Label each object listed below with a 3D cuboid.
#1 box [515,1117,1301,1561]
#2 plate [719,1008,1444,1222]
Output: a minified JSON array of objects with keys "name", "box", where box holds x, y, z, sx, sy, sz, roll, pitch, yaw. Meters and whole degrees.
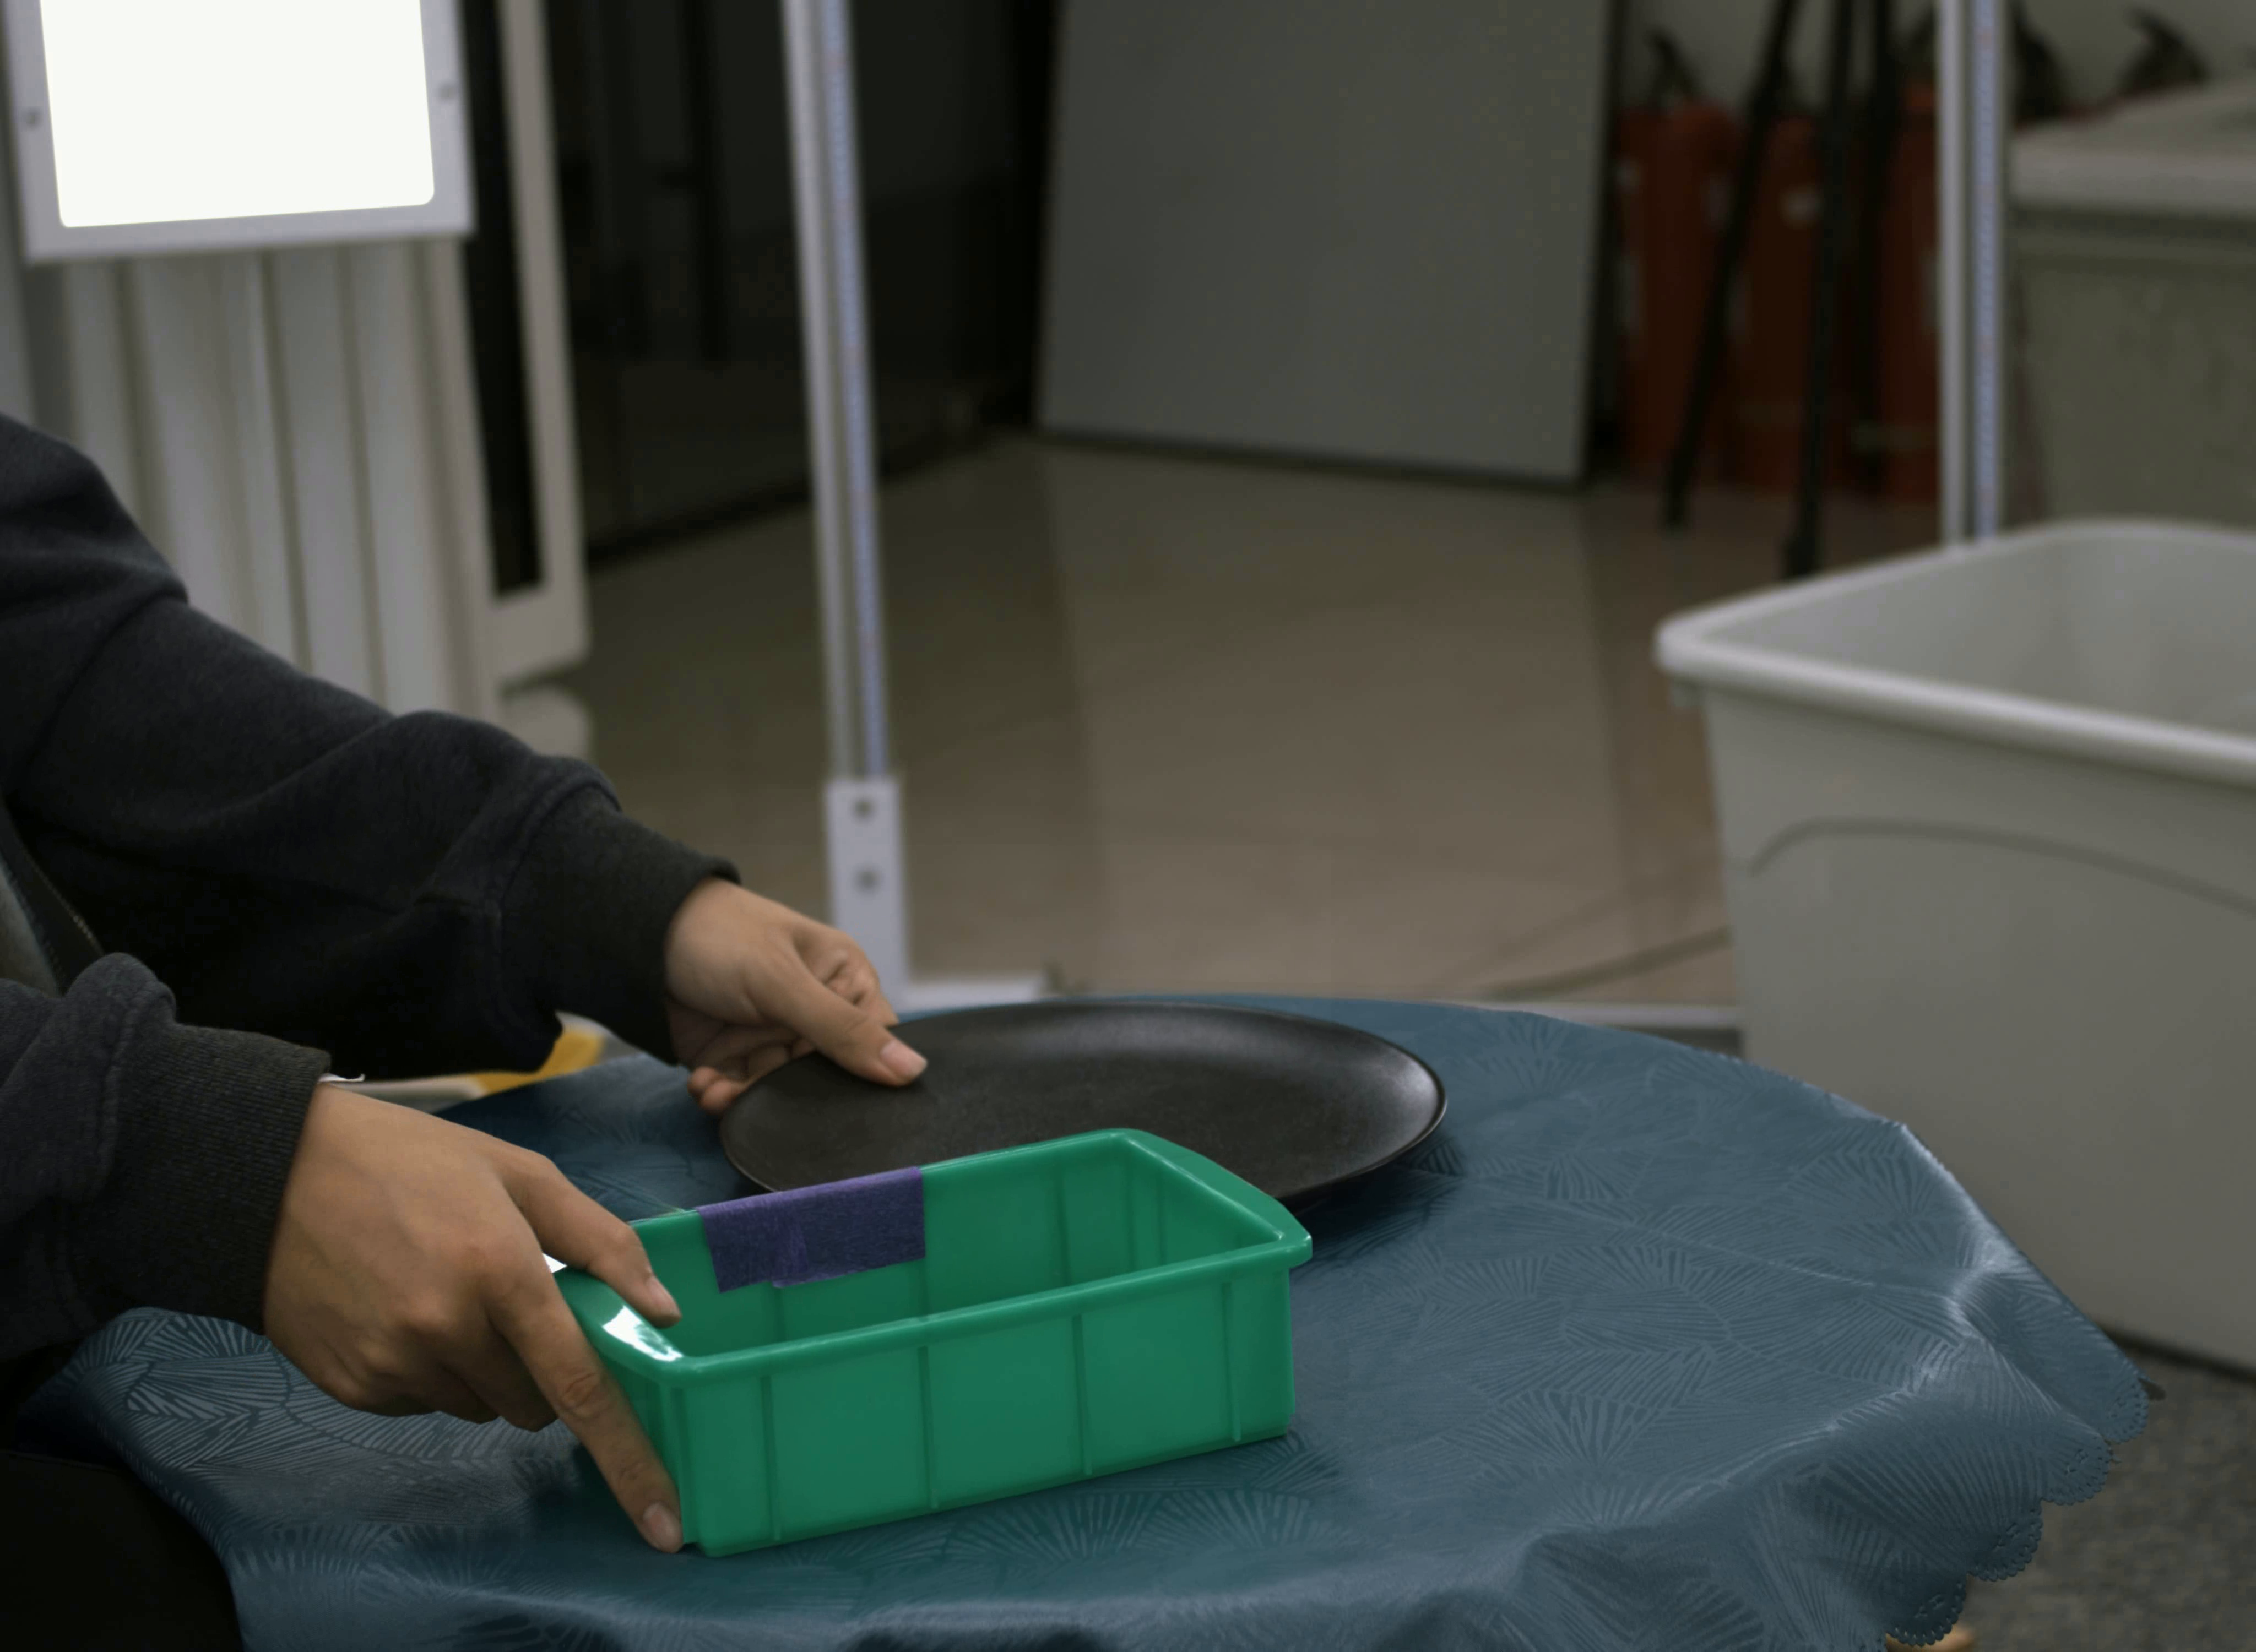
[{"name":"box","box":[-0.061,0.146,1.549,0.206,0.066,0.140,-12,13,-22]},{"name":"plate","box":[-0.015,0.104,1.788,0.241,0.024,0.245,-4,15,0]}]
